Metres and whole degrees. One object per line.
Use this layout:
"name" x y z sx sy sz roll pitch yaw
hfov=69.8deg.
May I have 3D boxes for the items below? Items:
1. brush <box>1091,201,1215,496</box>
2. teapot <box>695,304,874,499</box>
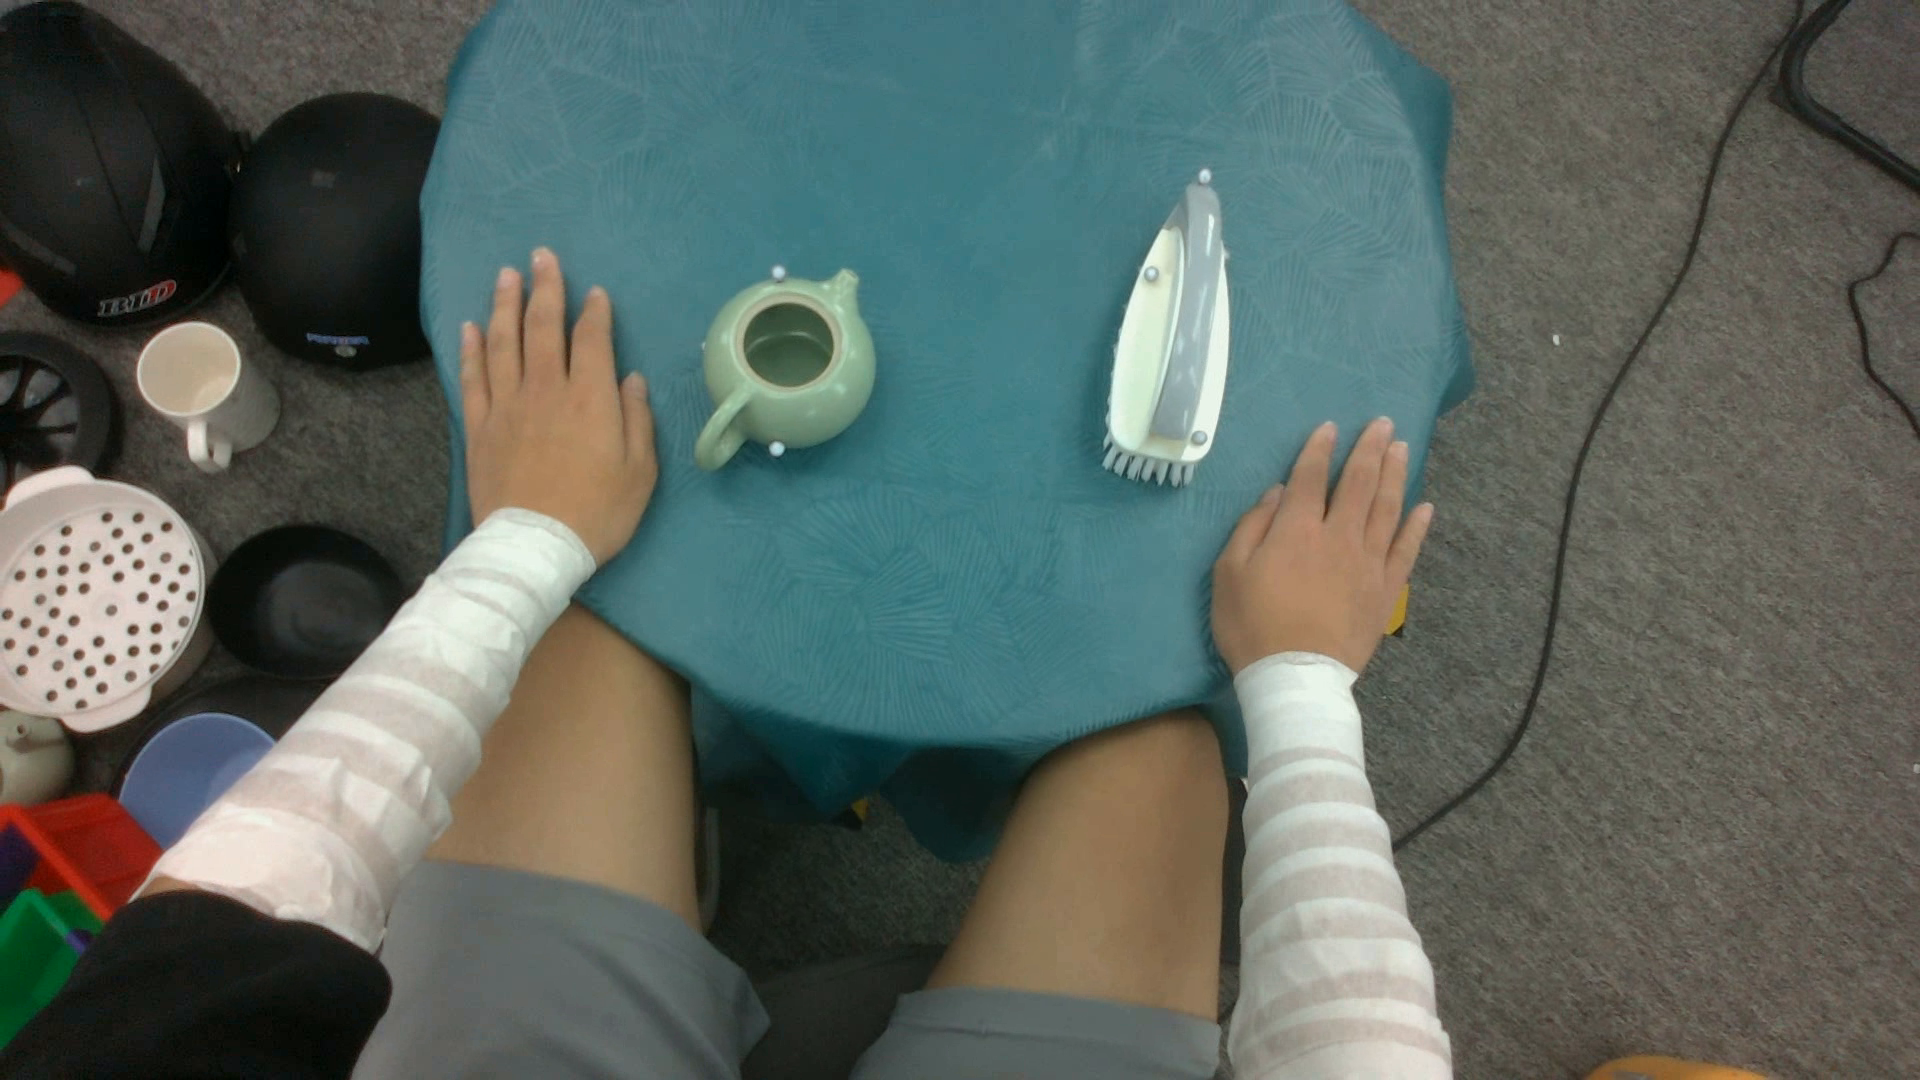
"brush" 0.115 -0.120 0.767 0.061 0.094 0.176 11 70 -5
"teapot" -0.099 -0.072 0.748 0.091 0.061 0.129 39 73 5
